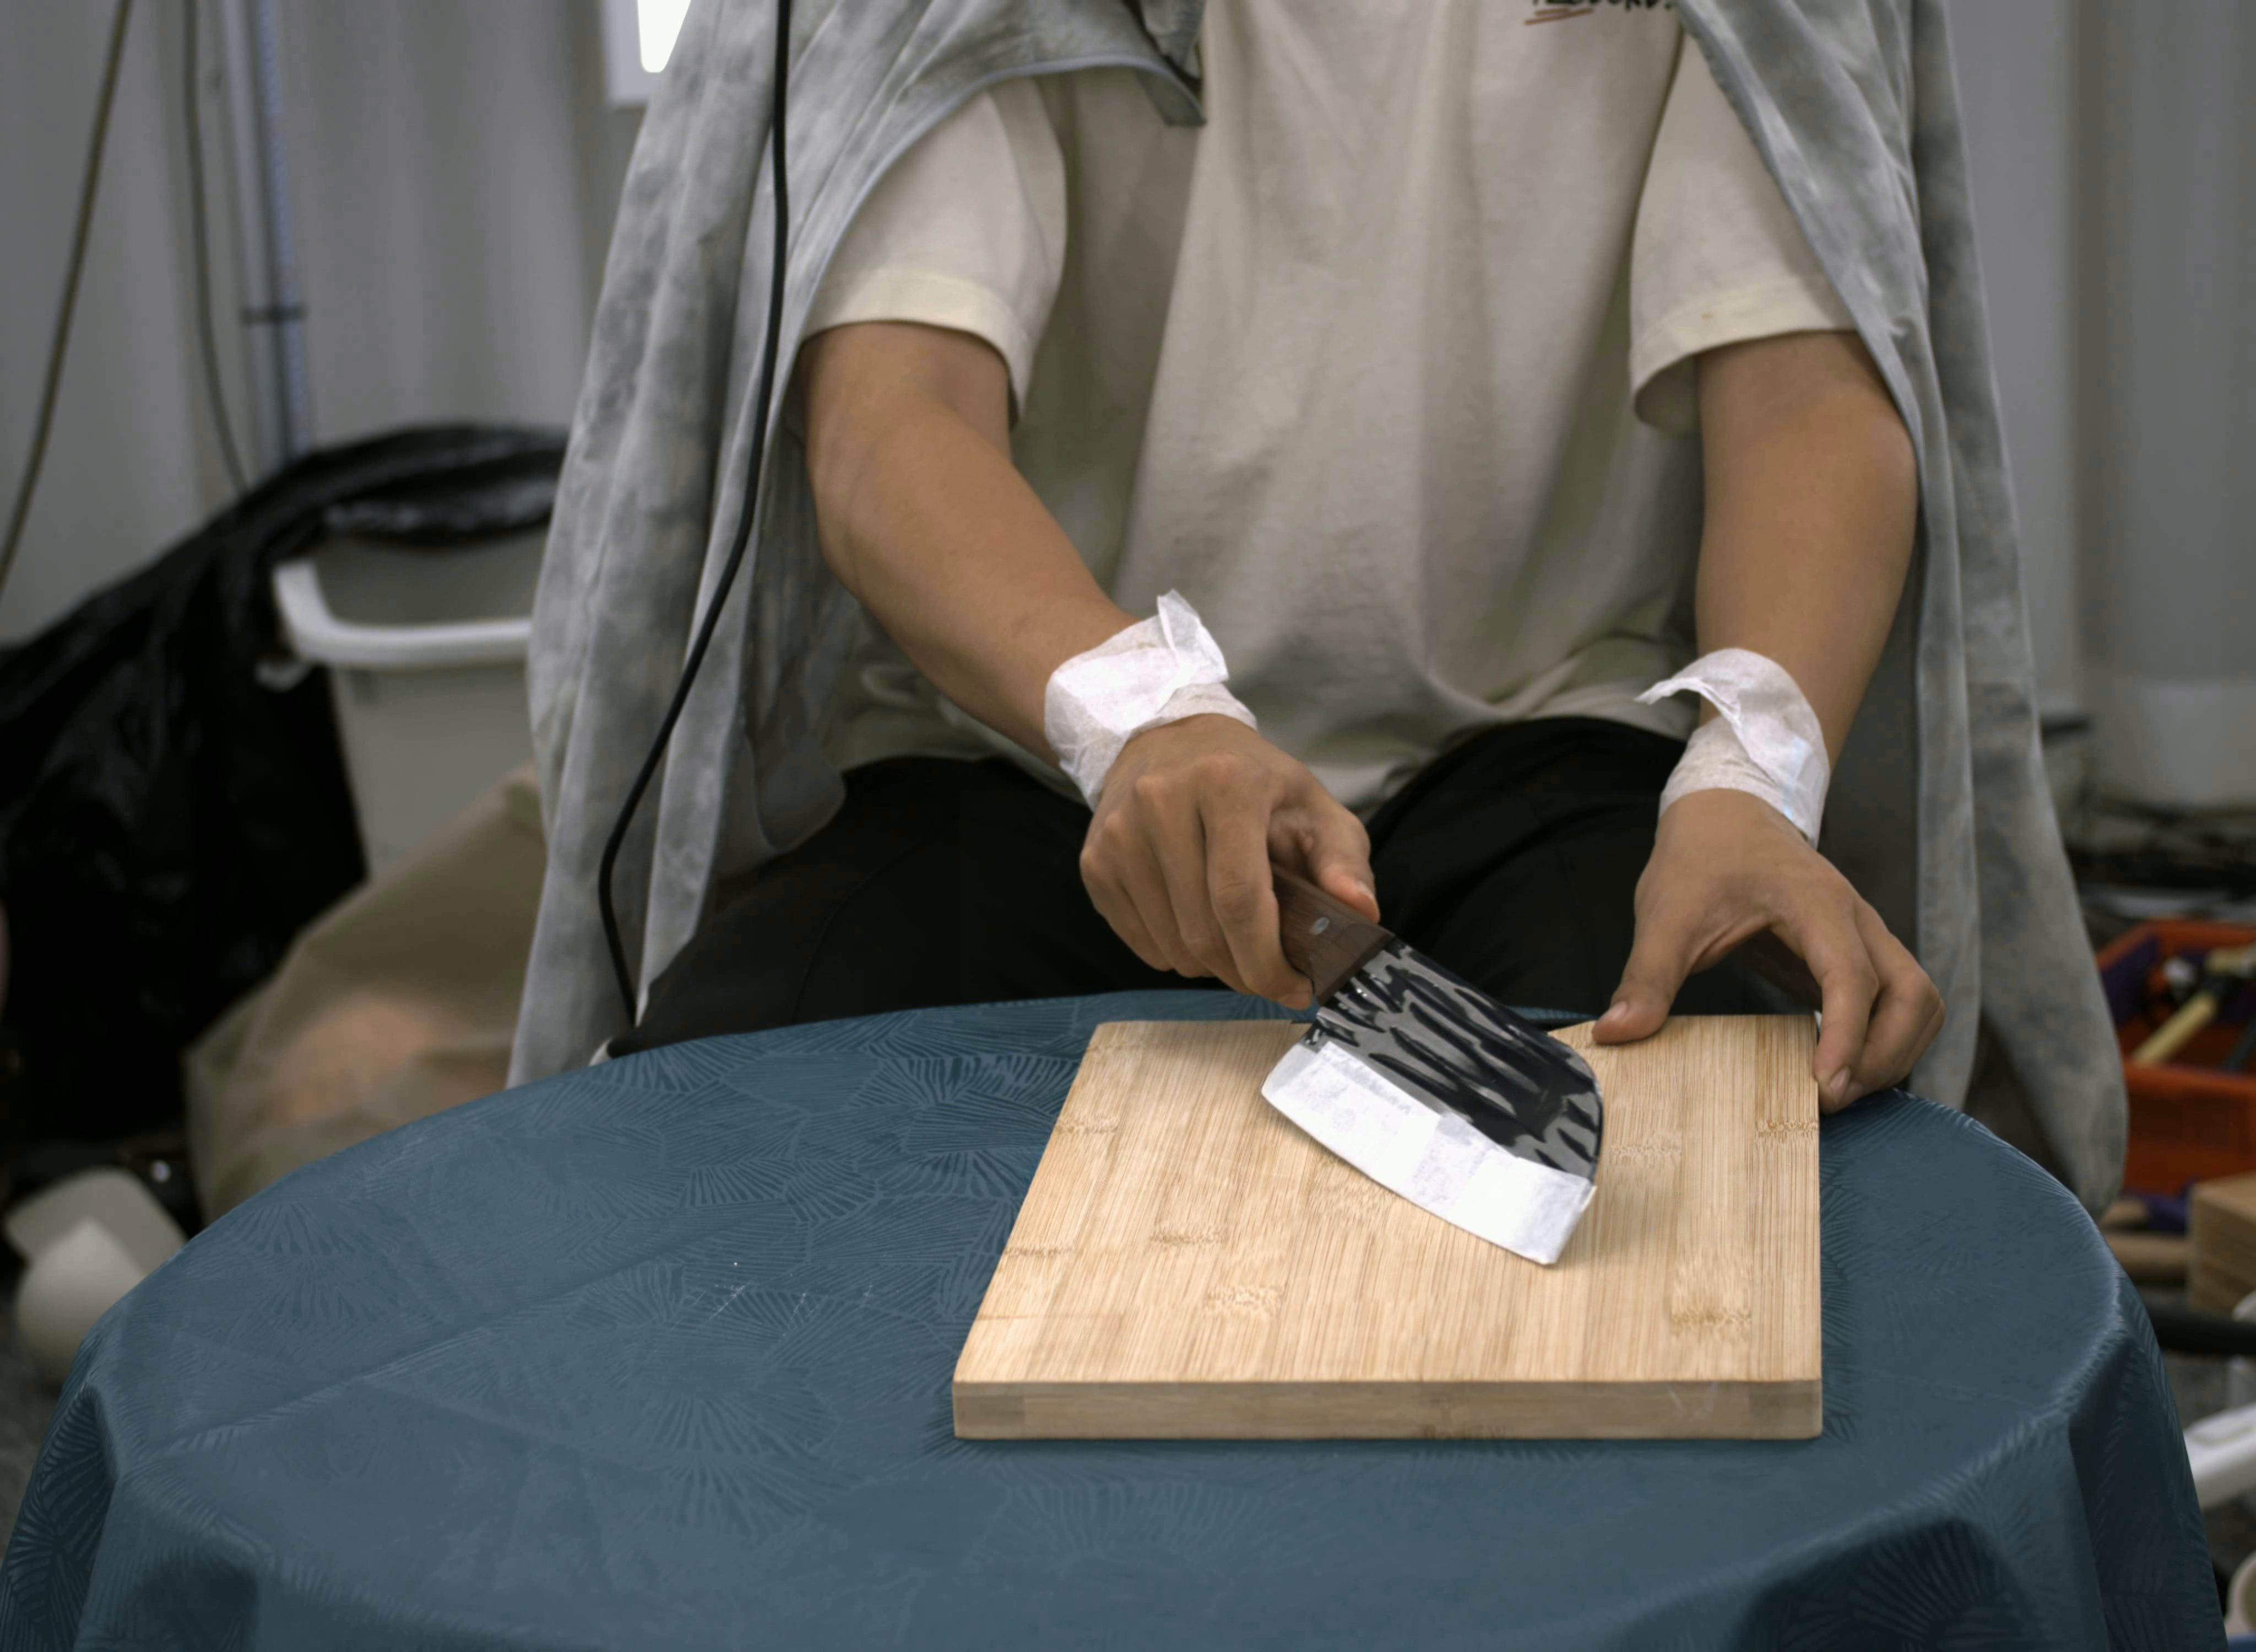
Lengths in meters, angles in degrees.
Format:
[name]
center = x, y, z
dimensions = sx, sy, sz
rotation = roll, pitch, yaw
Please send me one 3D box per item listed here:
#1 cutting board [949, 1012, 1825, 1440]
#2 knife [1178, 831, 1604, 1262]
[cutting board]
center = 0.090, 0.116, 1.666
dimensions = 0.250, 0.023, 0.350
rotation = -1, 15, 6
[knife]
center = 0.075, 0.066, 1.710
dimensions = 0.068, 0.024, 0.302
rotation = -48, 30, -4
